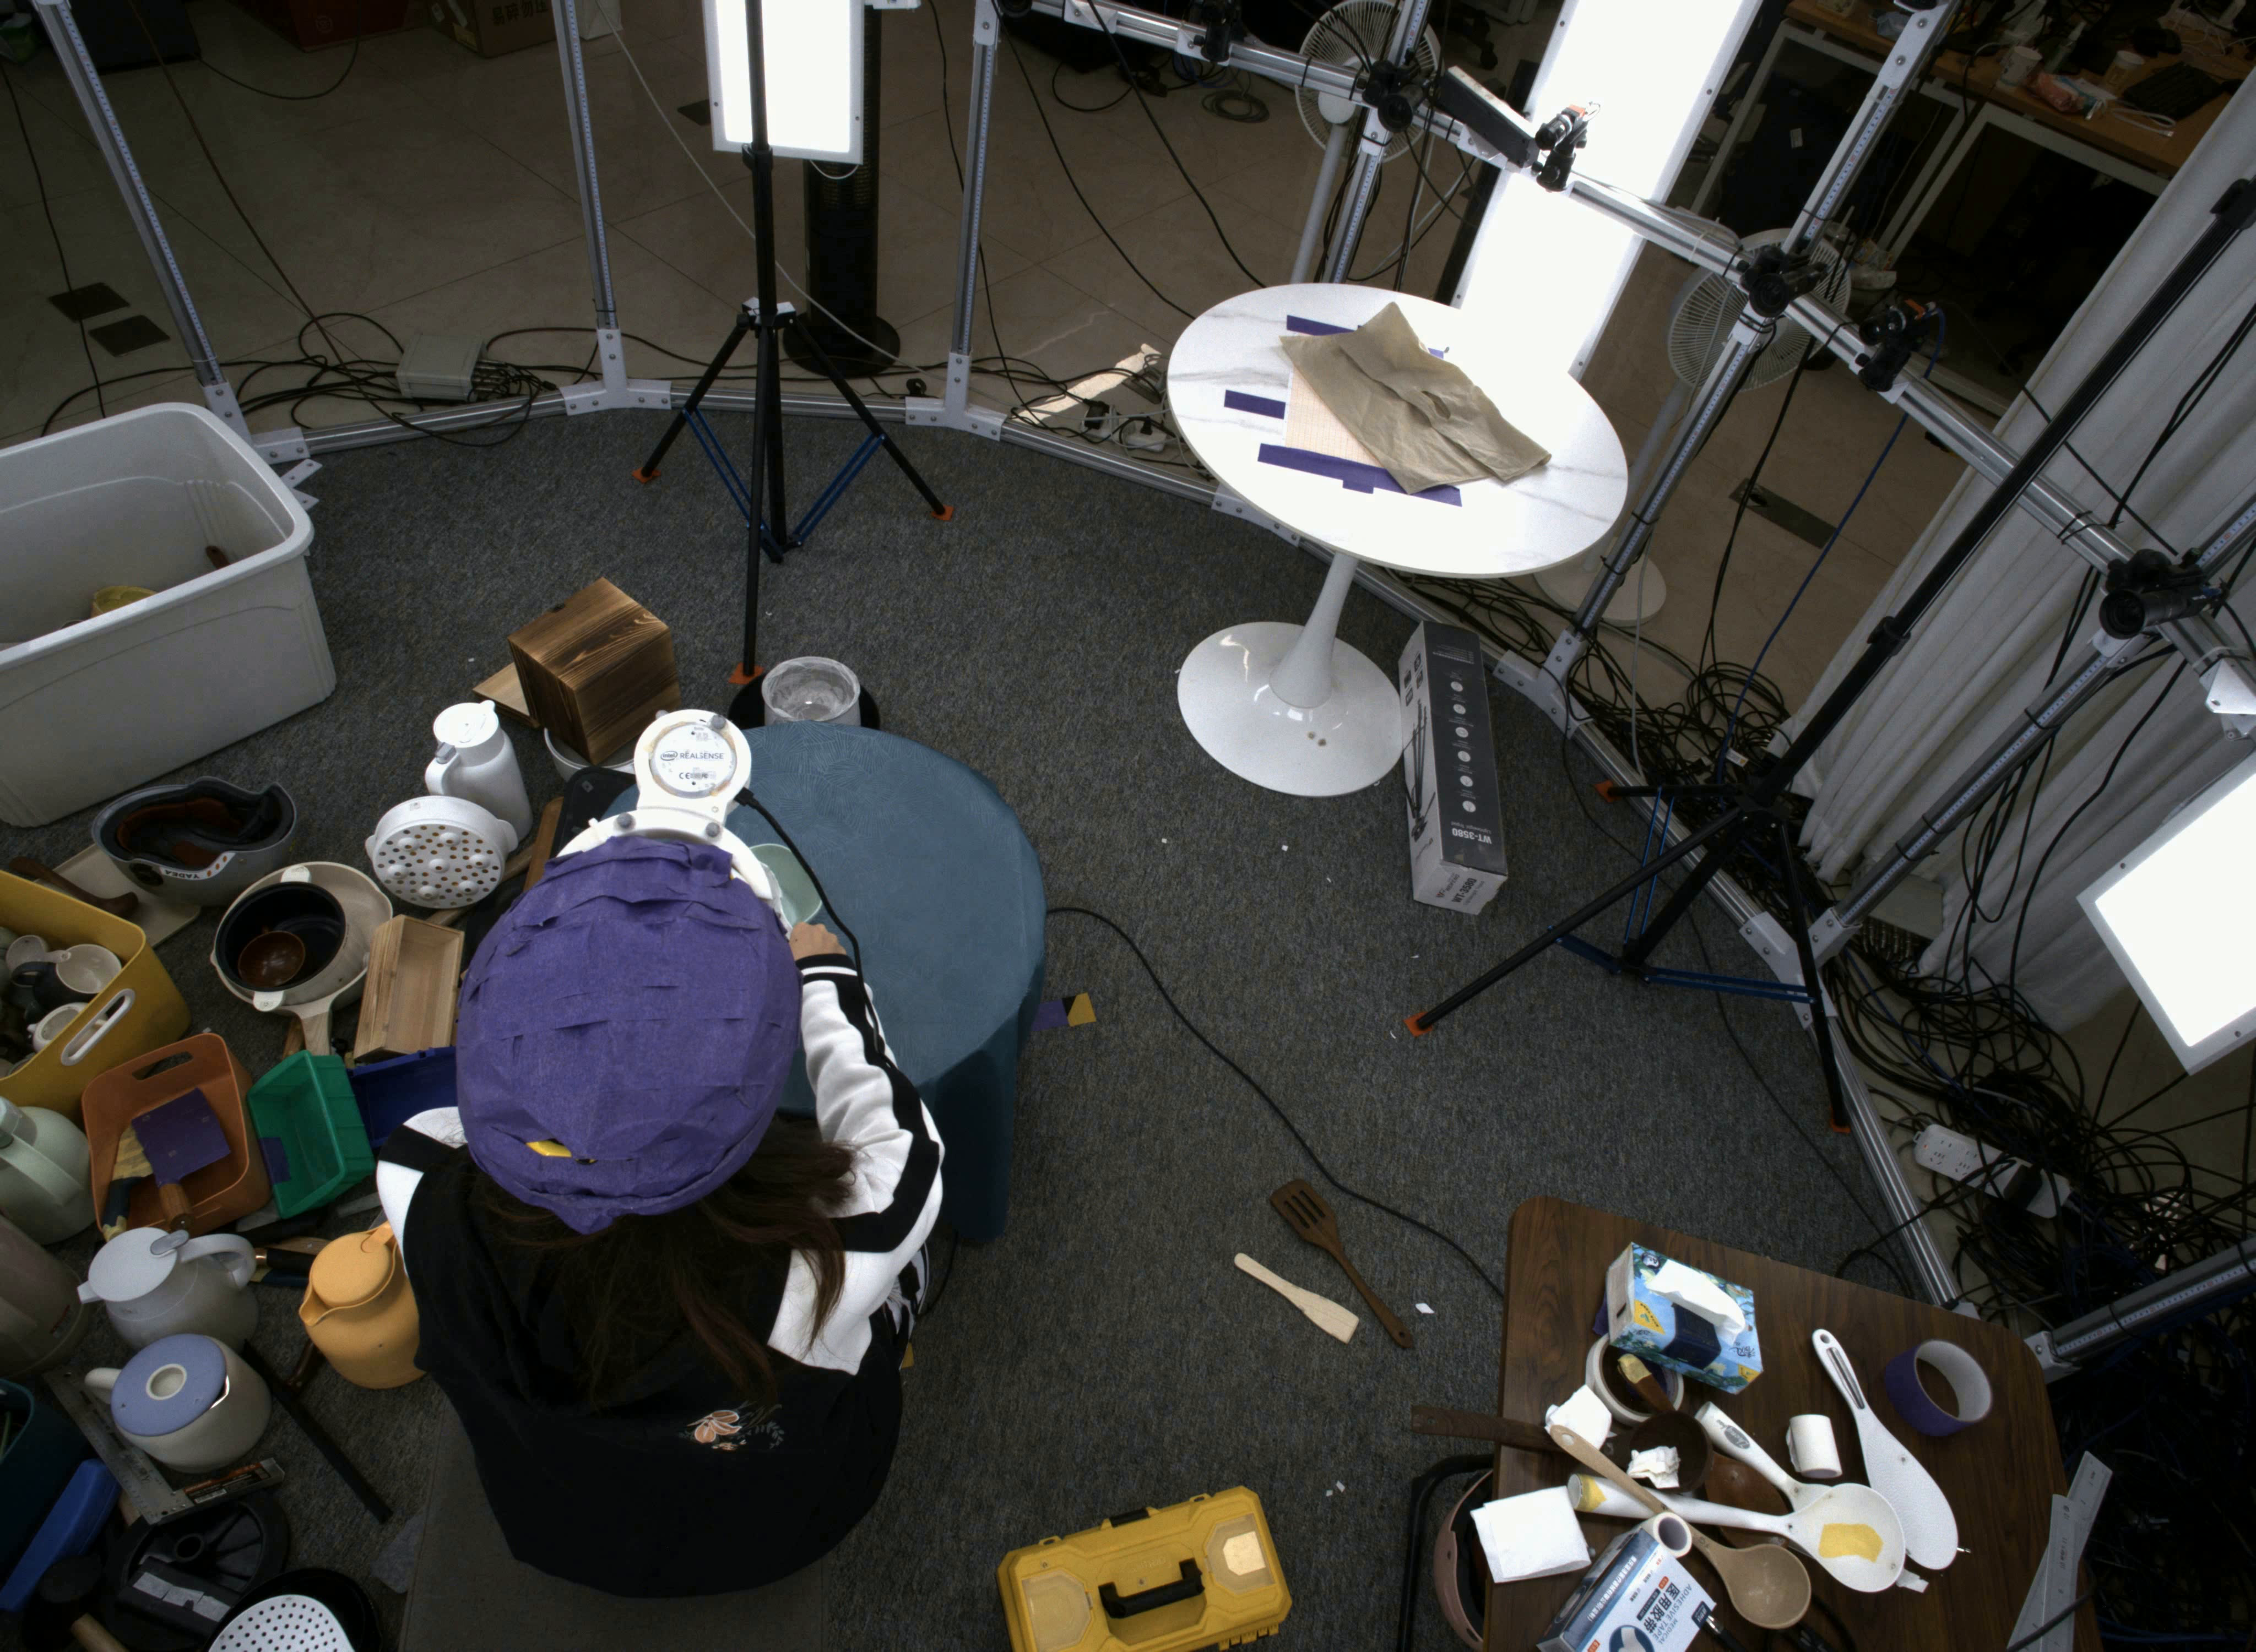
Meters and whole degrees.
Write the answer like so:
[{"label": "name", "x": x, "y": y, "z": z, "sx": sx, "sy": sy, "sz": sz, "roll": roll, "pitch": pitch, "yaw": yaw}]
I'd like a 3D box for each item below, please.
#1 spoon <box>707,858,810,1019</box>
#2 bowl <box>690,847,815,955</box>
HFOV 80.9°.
[{"label": "spoon", "x": -0.438, "y": 0.138, "z": 1.518, "sx": 0.061, "sy": 0.102, "sz": 0.267, "roll": 11, "pitch": 25, "yaw": -37}, {"label": "bowl", "x": -0.463, "y": 0.101, "z": 1.599, "sx": 0.151, "sy": 0.060, "sz": 0.149, "roll": 8, "pitch": 52, "yaw": -8}]
